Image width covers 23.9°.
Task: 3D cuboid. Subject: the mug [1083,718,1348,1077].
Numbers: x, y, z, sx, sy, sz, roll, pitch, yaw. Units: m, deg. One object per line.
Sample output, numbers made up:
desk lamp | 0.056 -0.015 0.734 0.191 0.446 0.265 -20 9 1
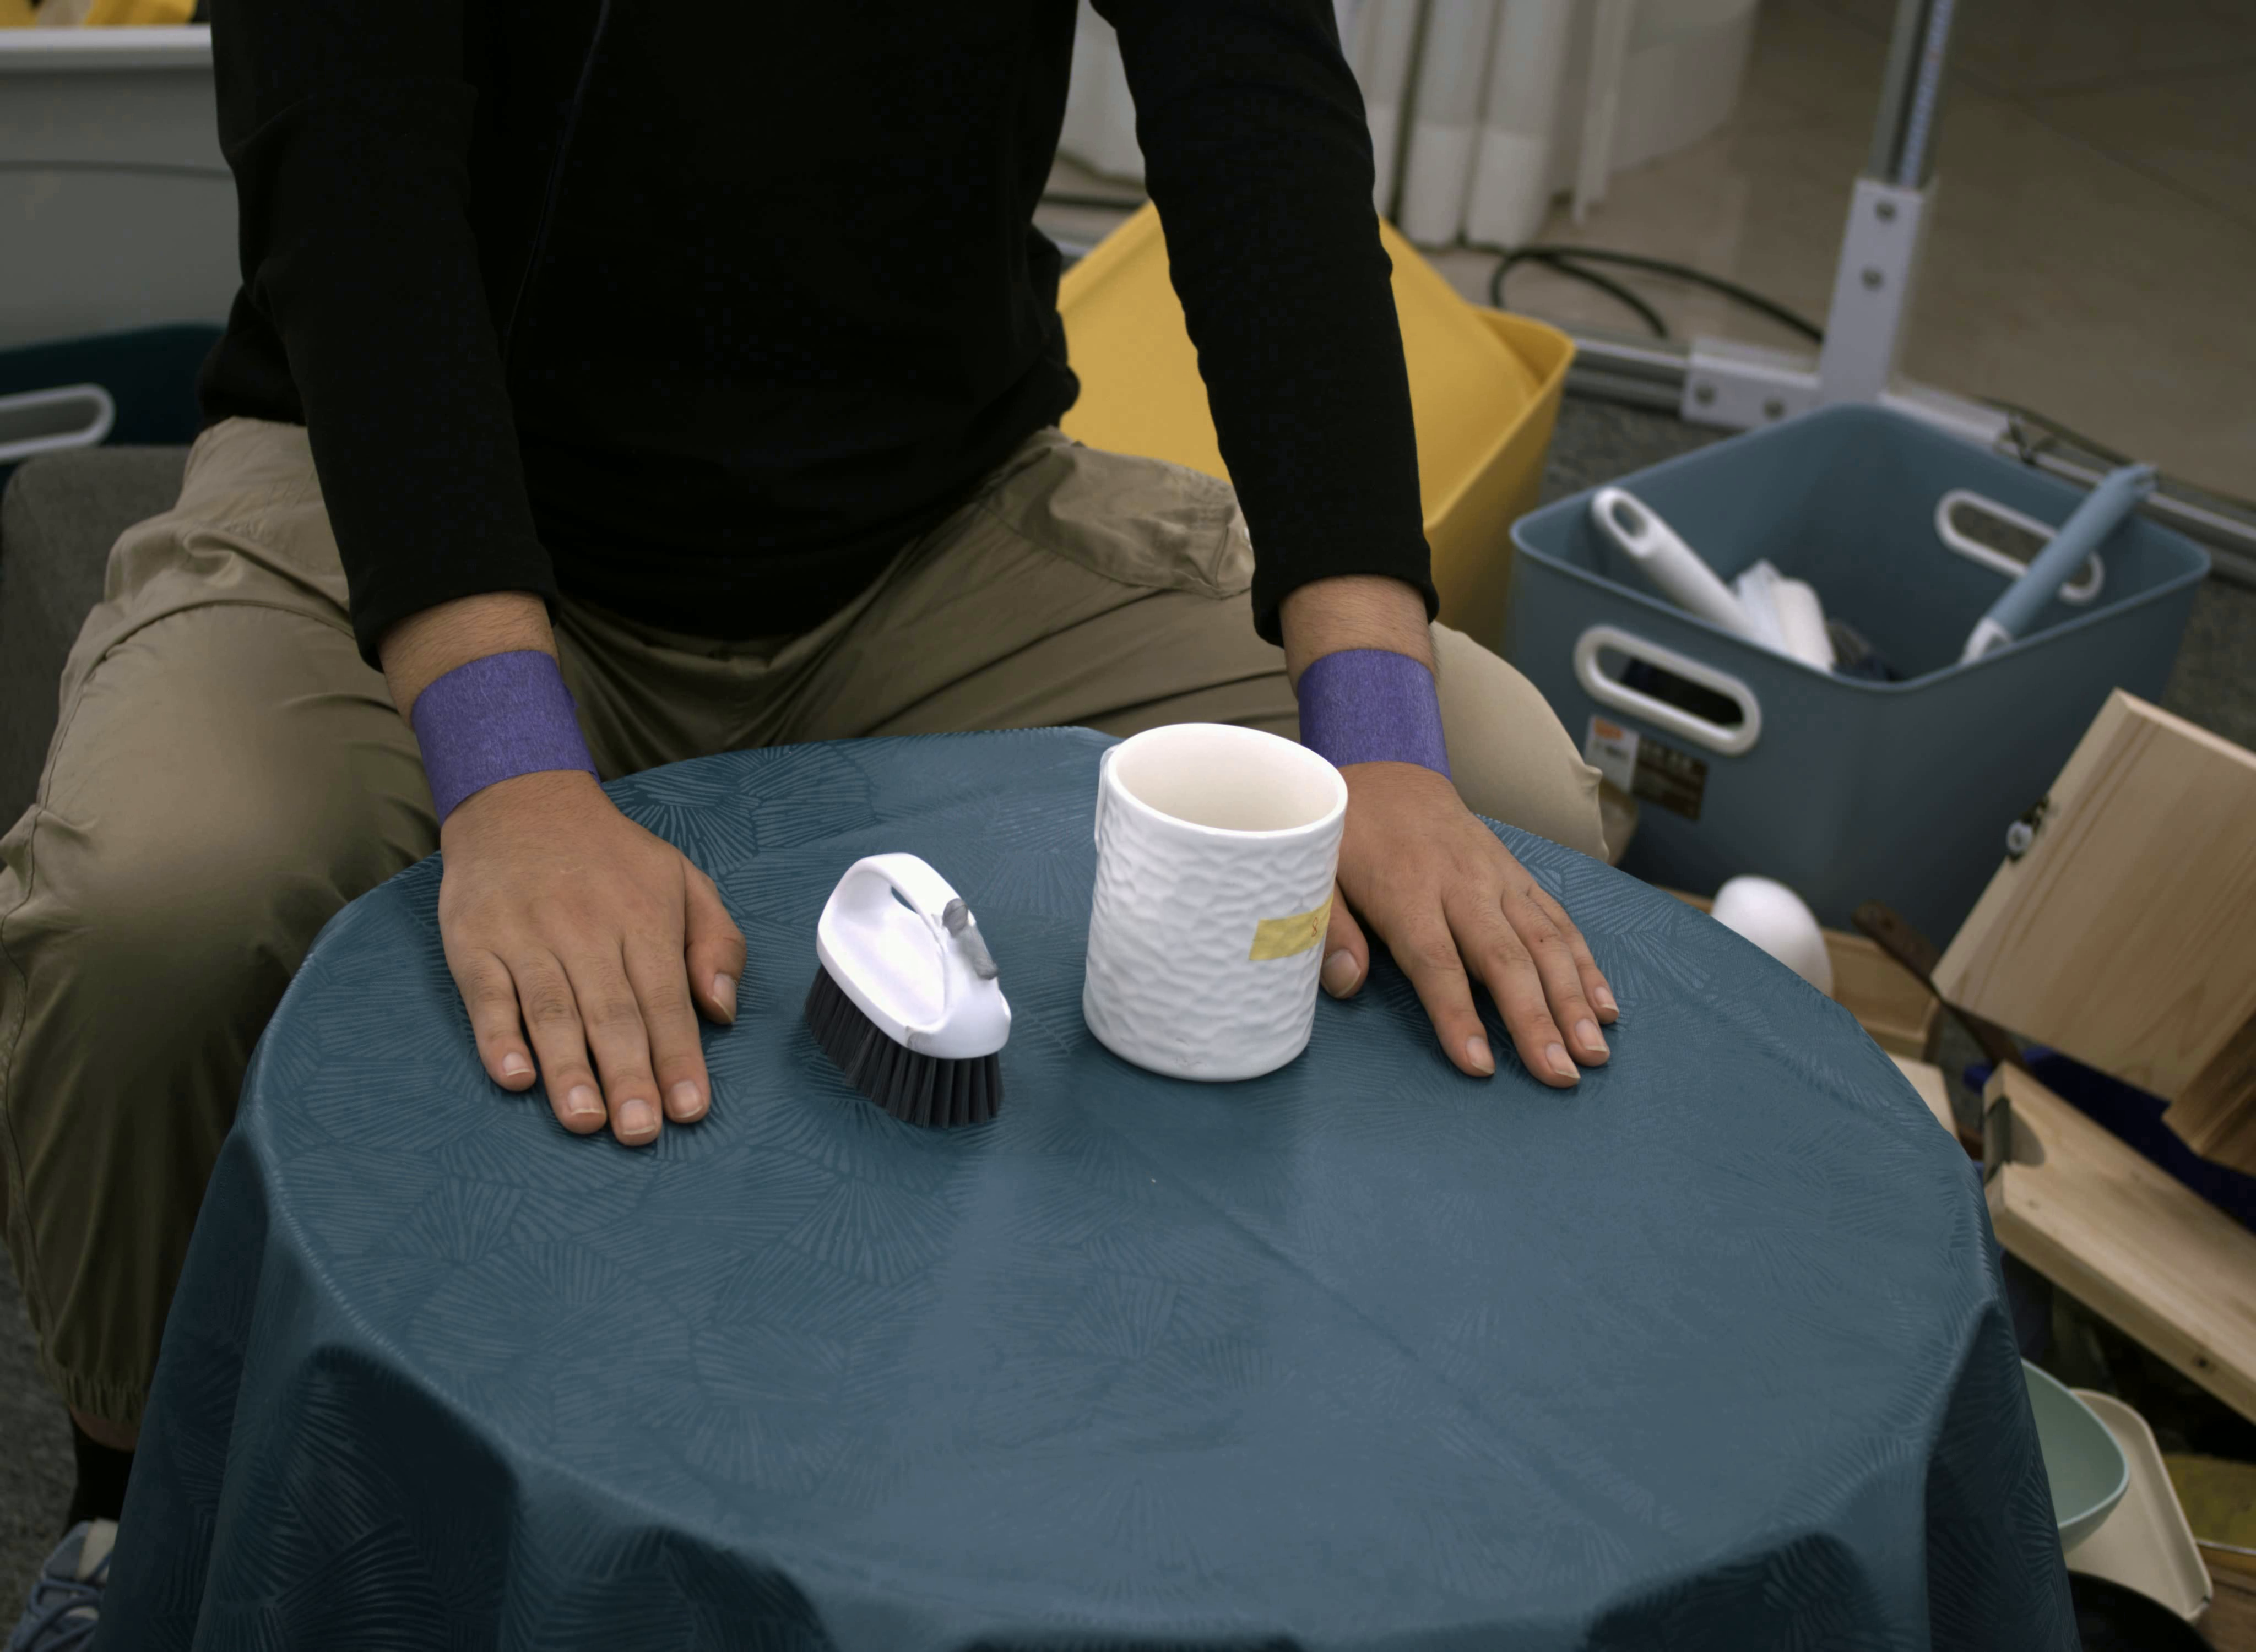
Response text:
mug | 0.022 0.019 1.895 0.084 0.101 0.119 -10 31 -29

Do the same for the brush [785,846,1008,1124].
brush | -0.078 0.048 1.849 0.050 0.072 0.100 -8 34 -36
